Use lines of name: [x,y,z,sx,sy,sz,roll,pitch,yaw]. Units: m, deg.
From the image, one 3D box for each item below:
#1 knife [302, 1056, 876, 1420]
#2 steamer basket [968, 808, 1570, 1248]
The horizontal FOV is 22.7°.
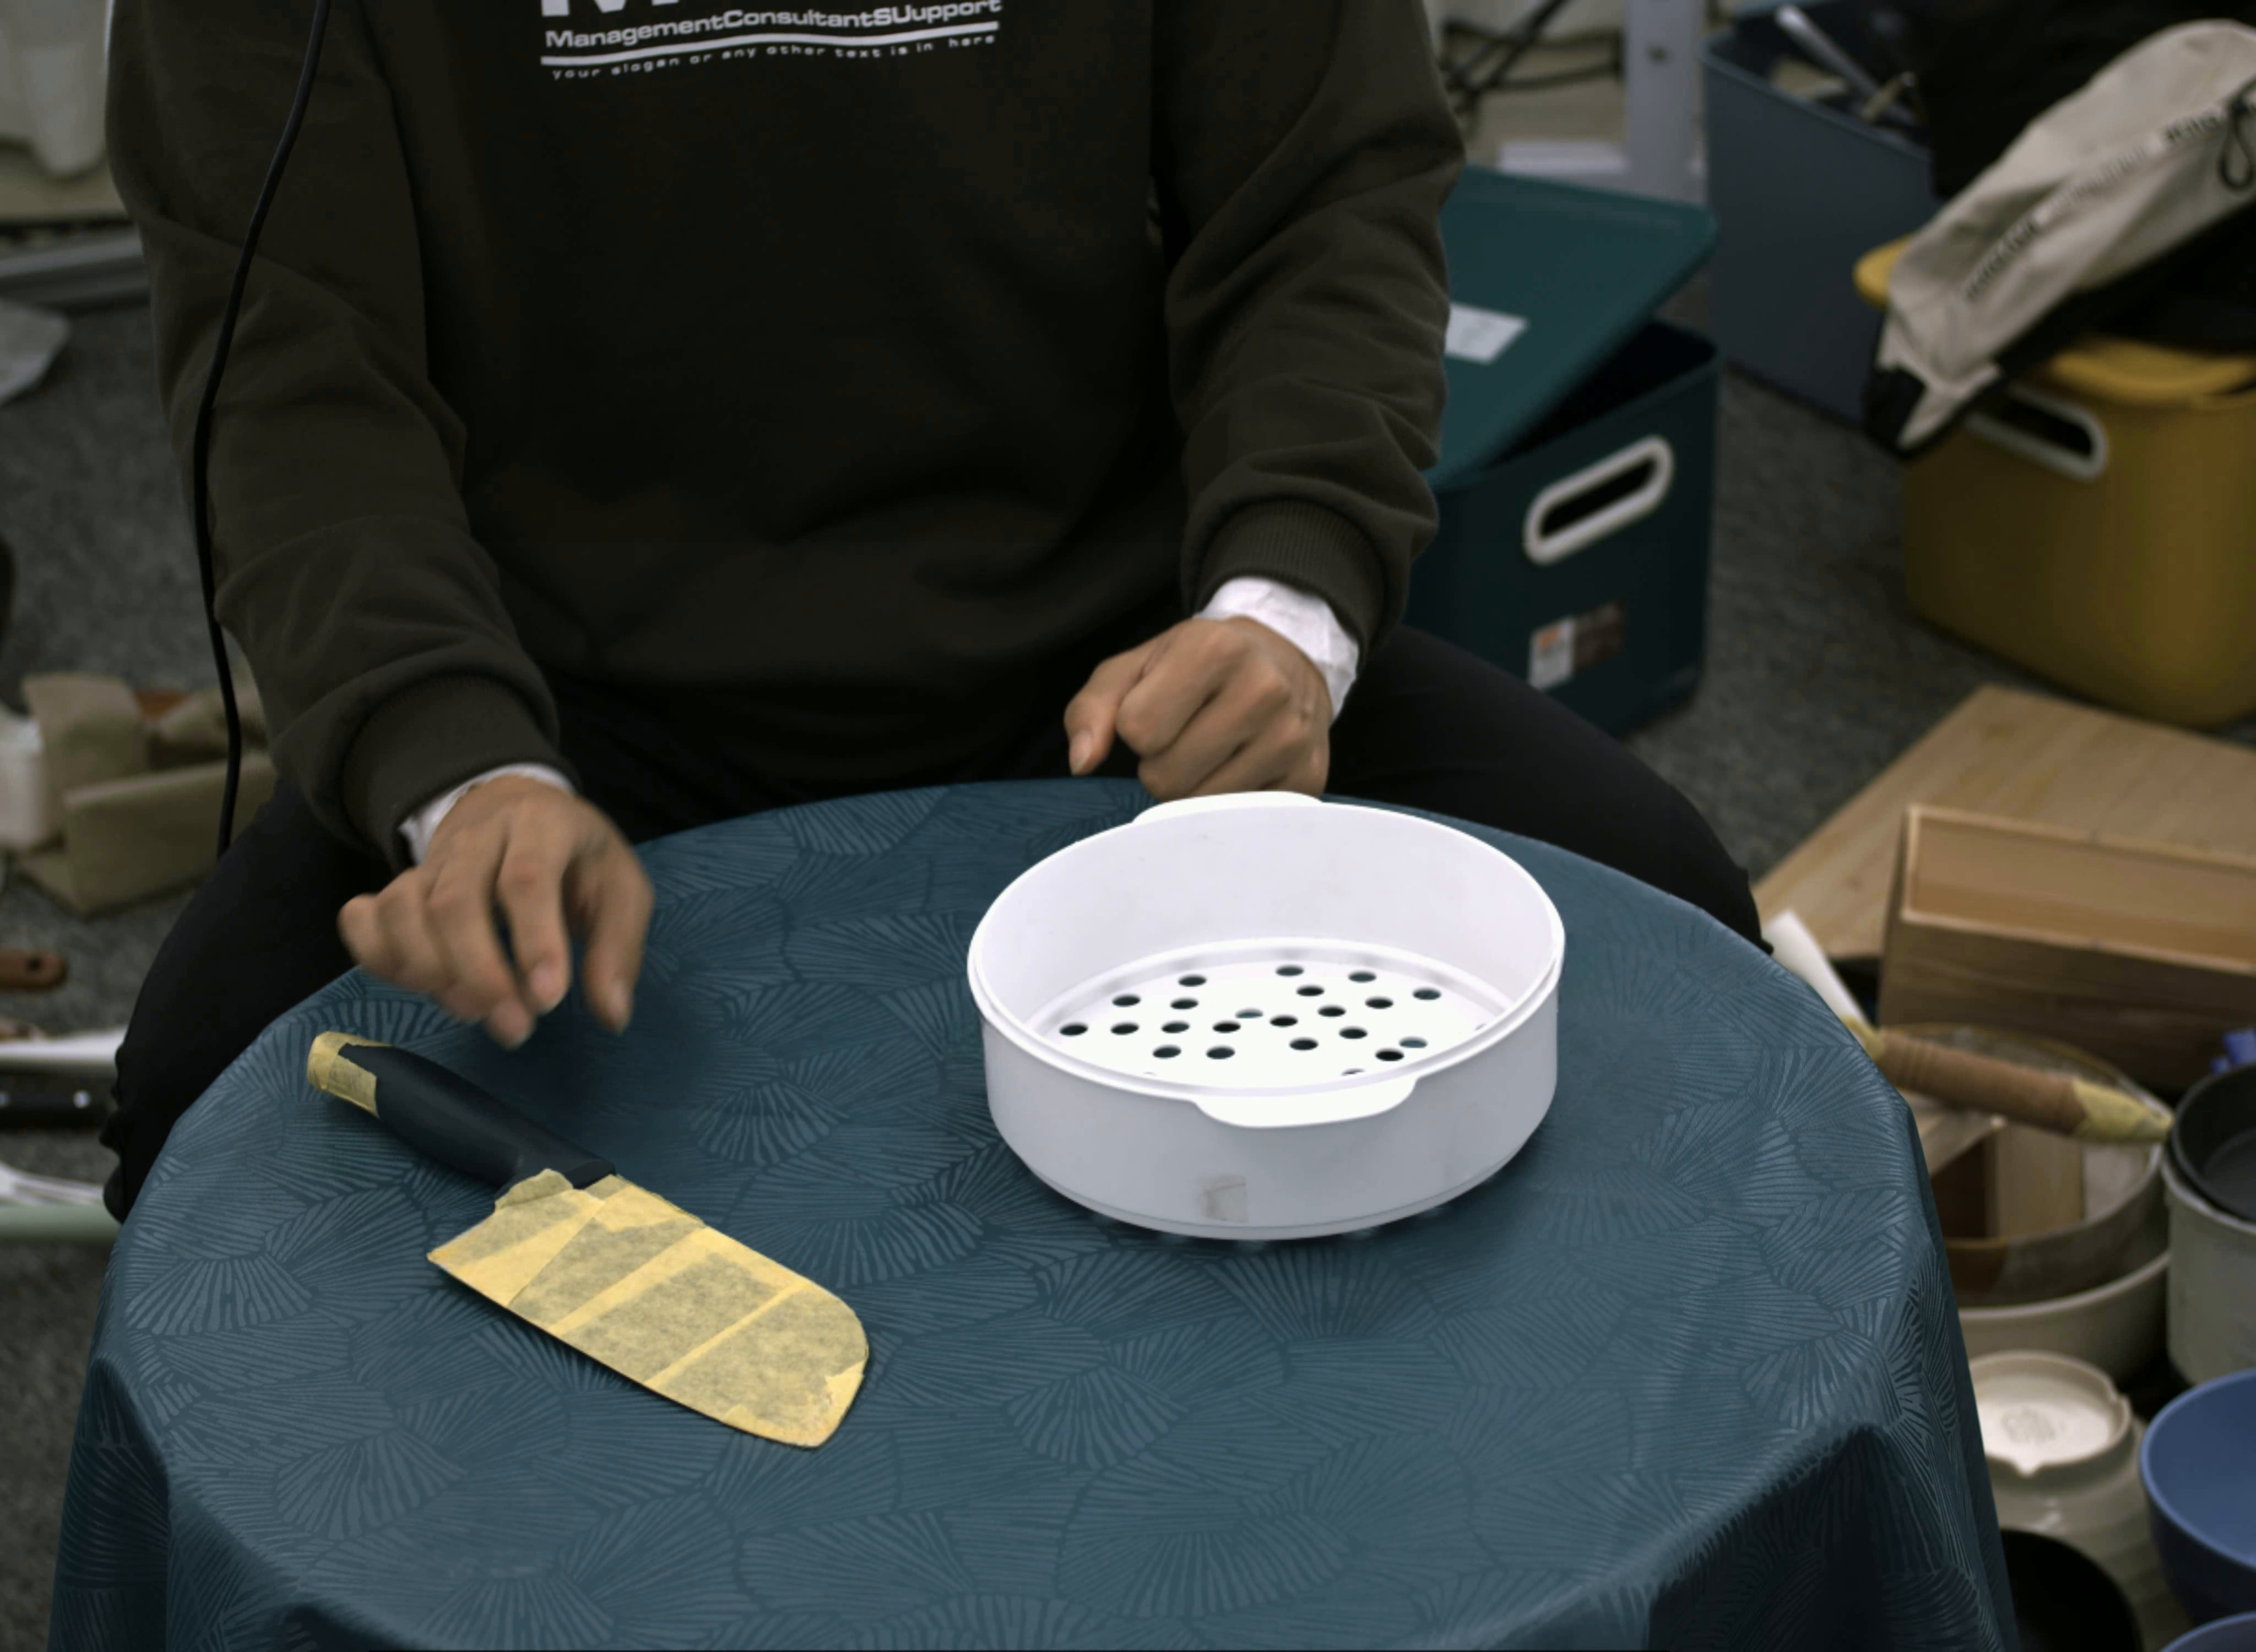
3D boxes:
knife: [-0.186,0.136,1.836,0.082,0.027,0.289,-25,35,-37]
steamer basket: [0.048,0.069,1.887,0.201,0.068,0.233,-4,26,-5]
